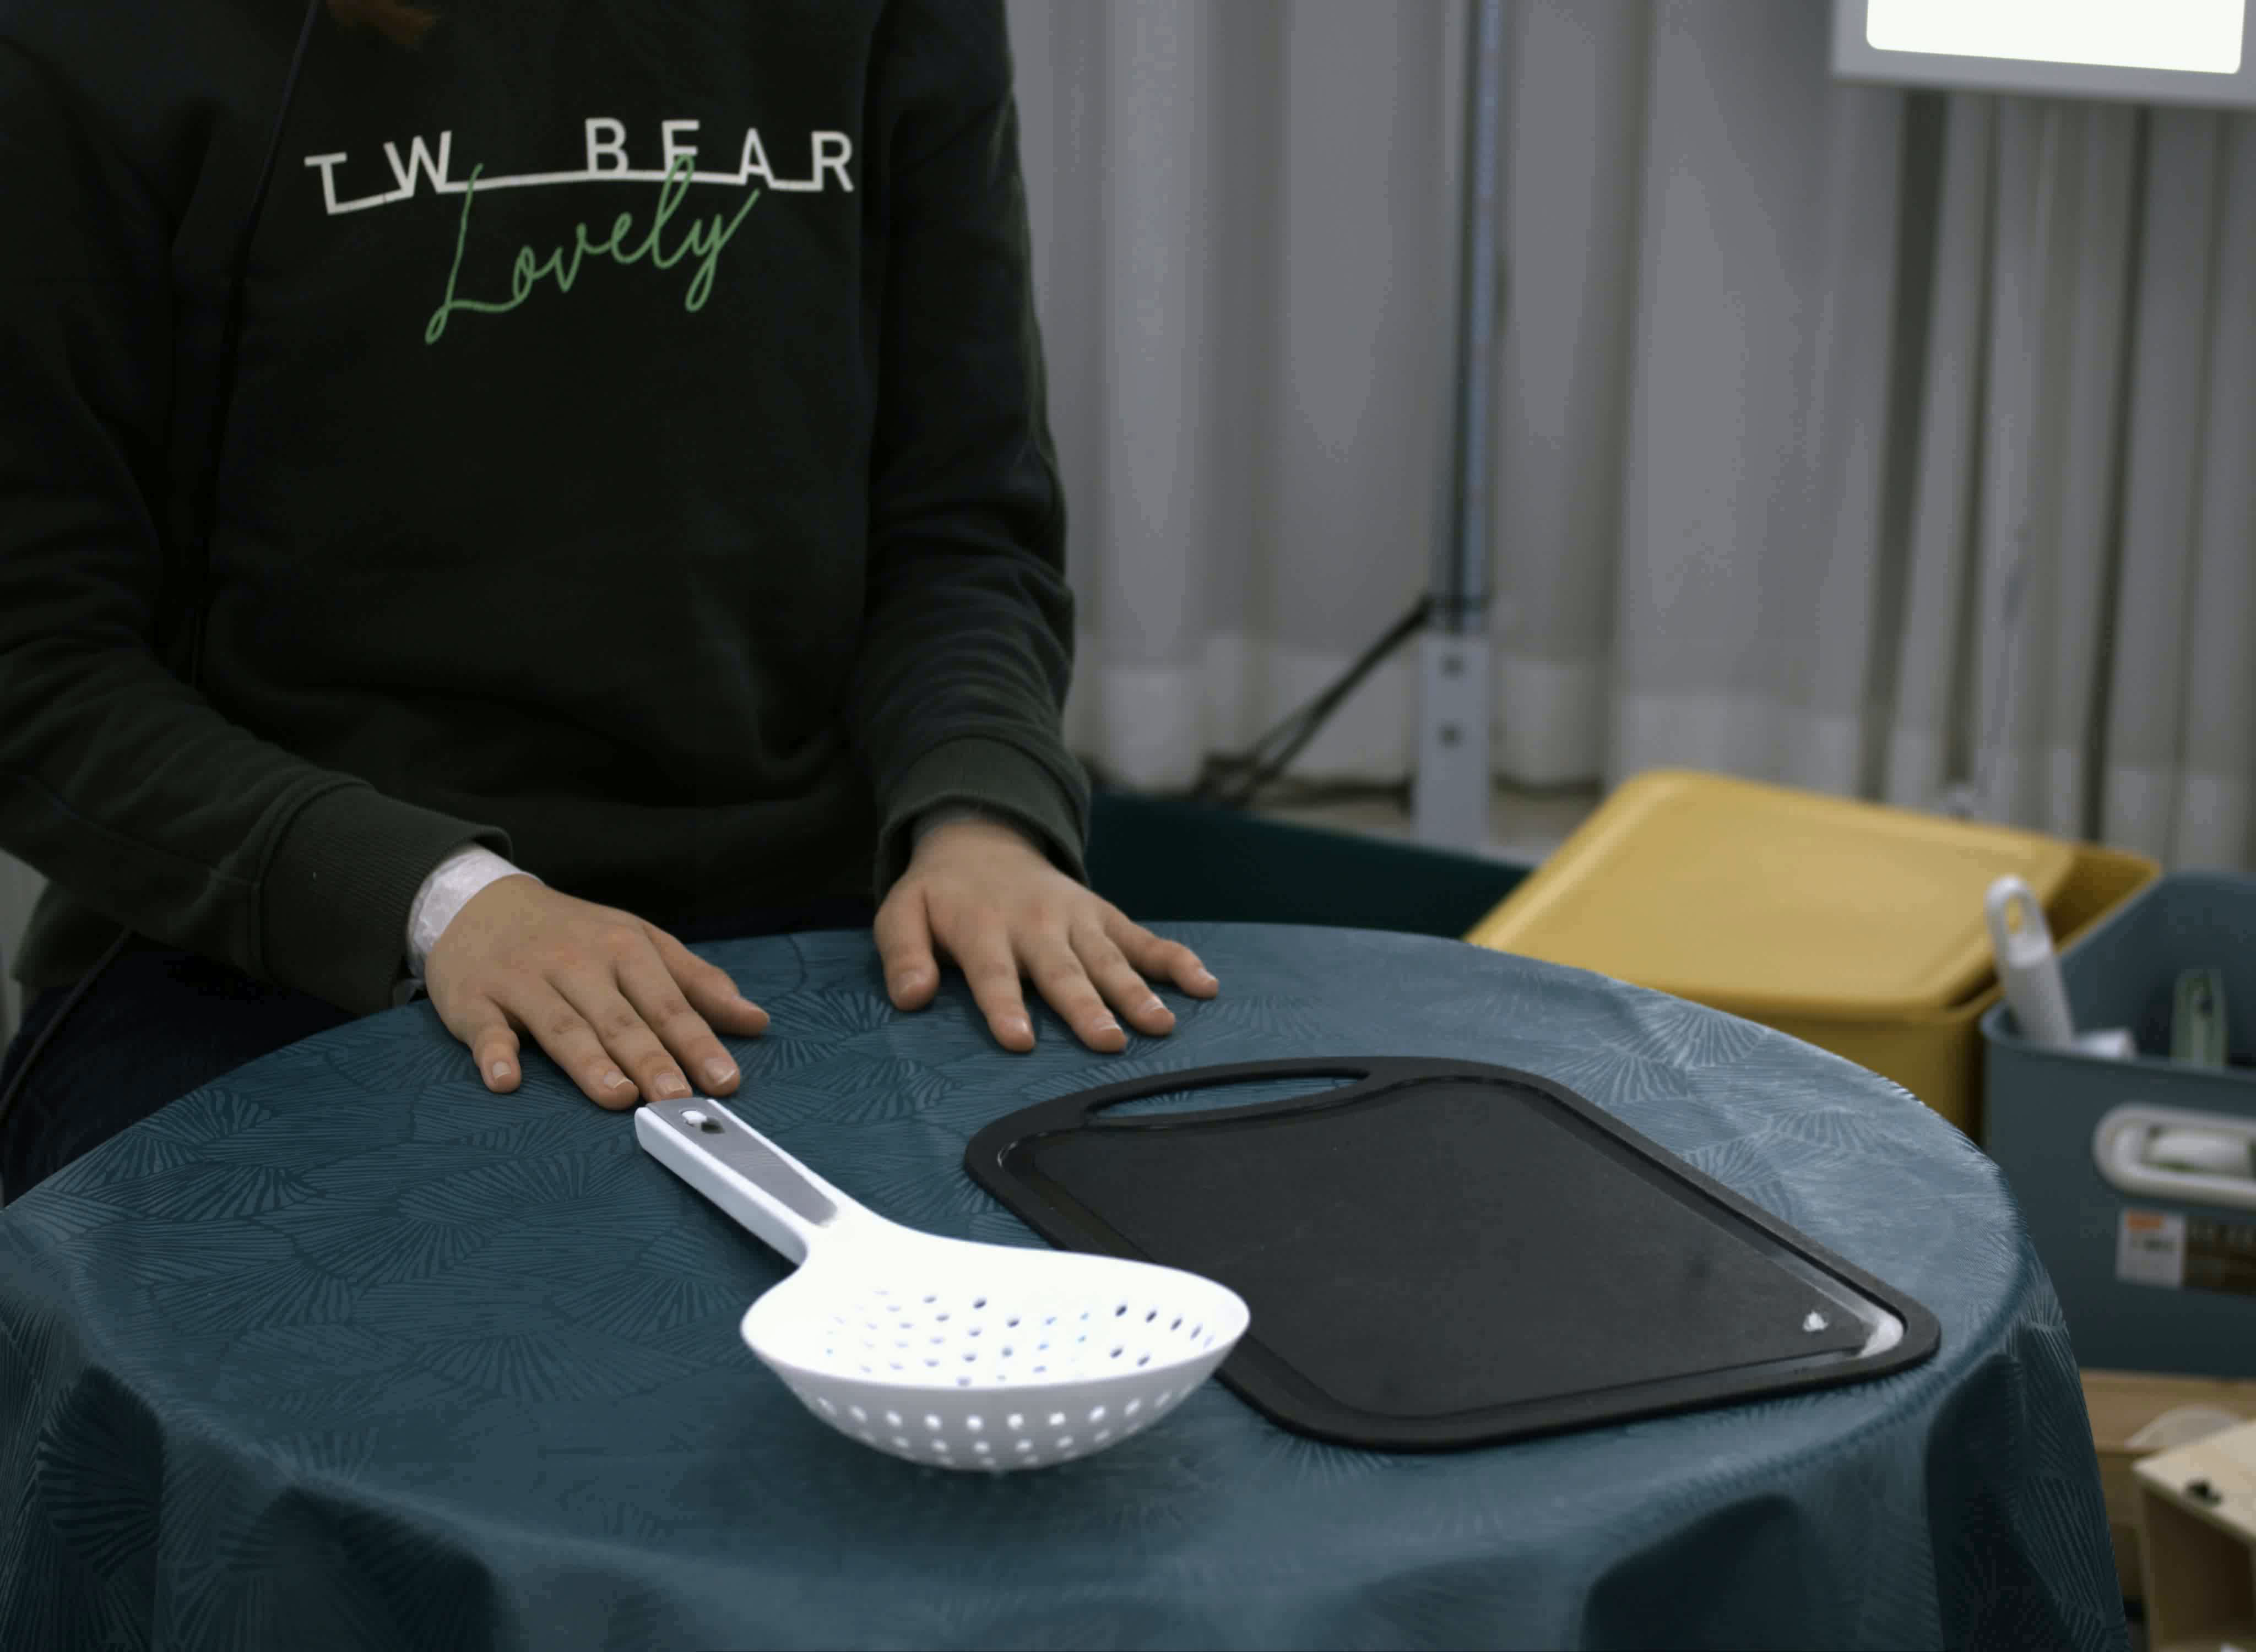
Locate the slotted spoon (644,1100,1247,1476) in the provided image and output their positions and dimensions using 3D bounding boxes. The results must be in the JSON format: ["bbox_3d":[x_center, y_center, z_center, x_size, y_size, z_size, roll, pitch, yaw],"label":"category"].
[{"bbox_3d":[-0.077,0.122,1.505,0.136,0.046,0.346,-4,15,-22],"label":"slotted spoon"}]

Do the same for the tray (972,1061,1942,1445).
[{"bbox_3d":[0.088,0.121,1.589,0.212,0.010,0.321,-6,17,-23],"label":"tray"}]
